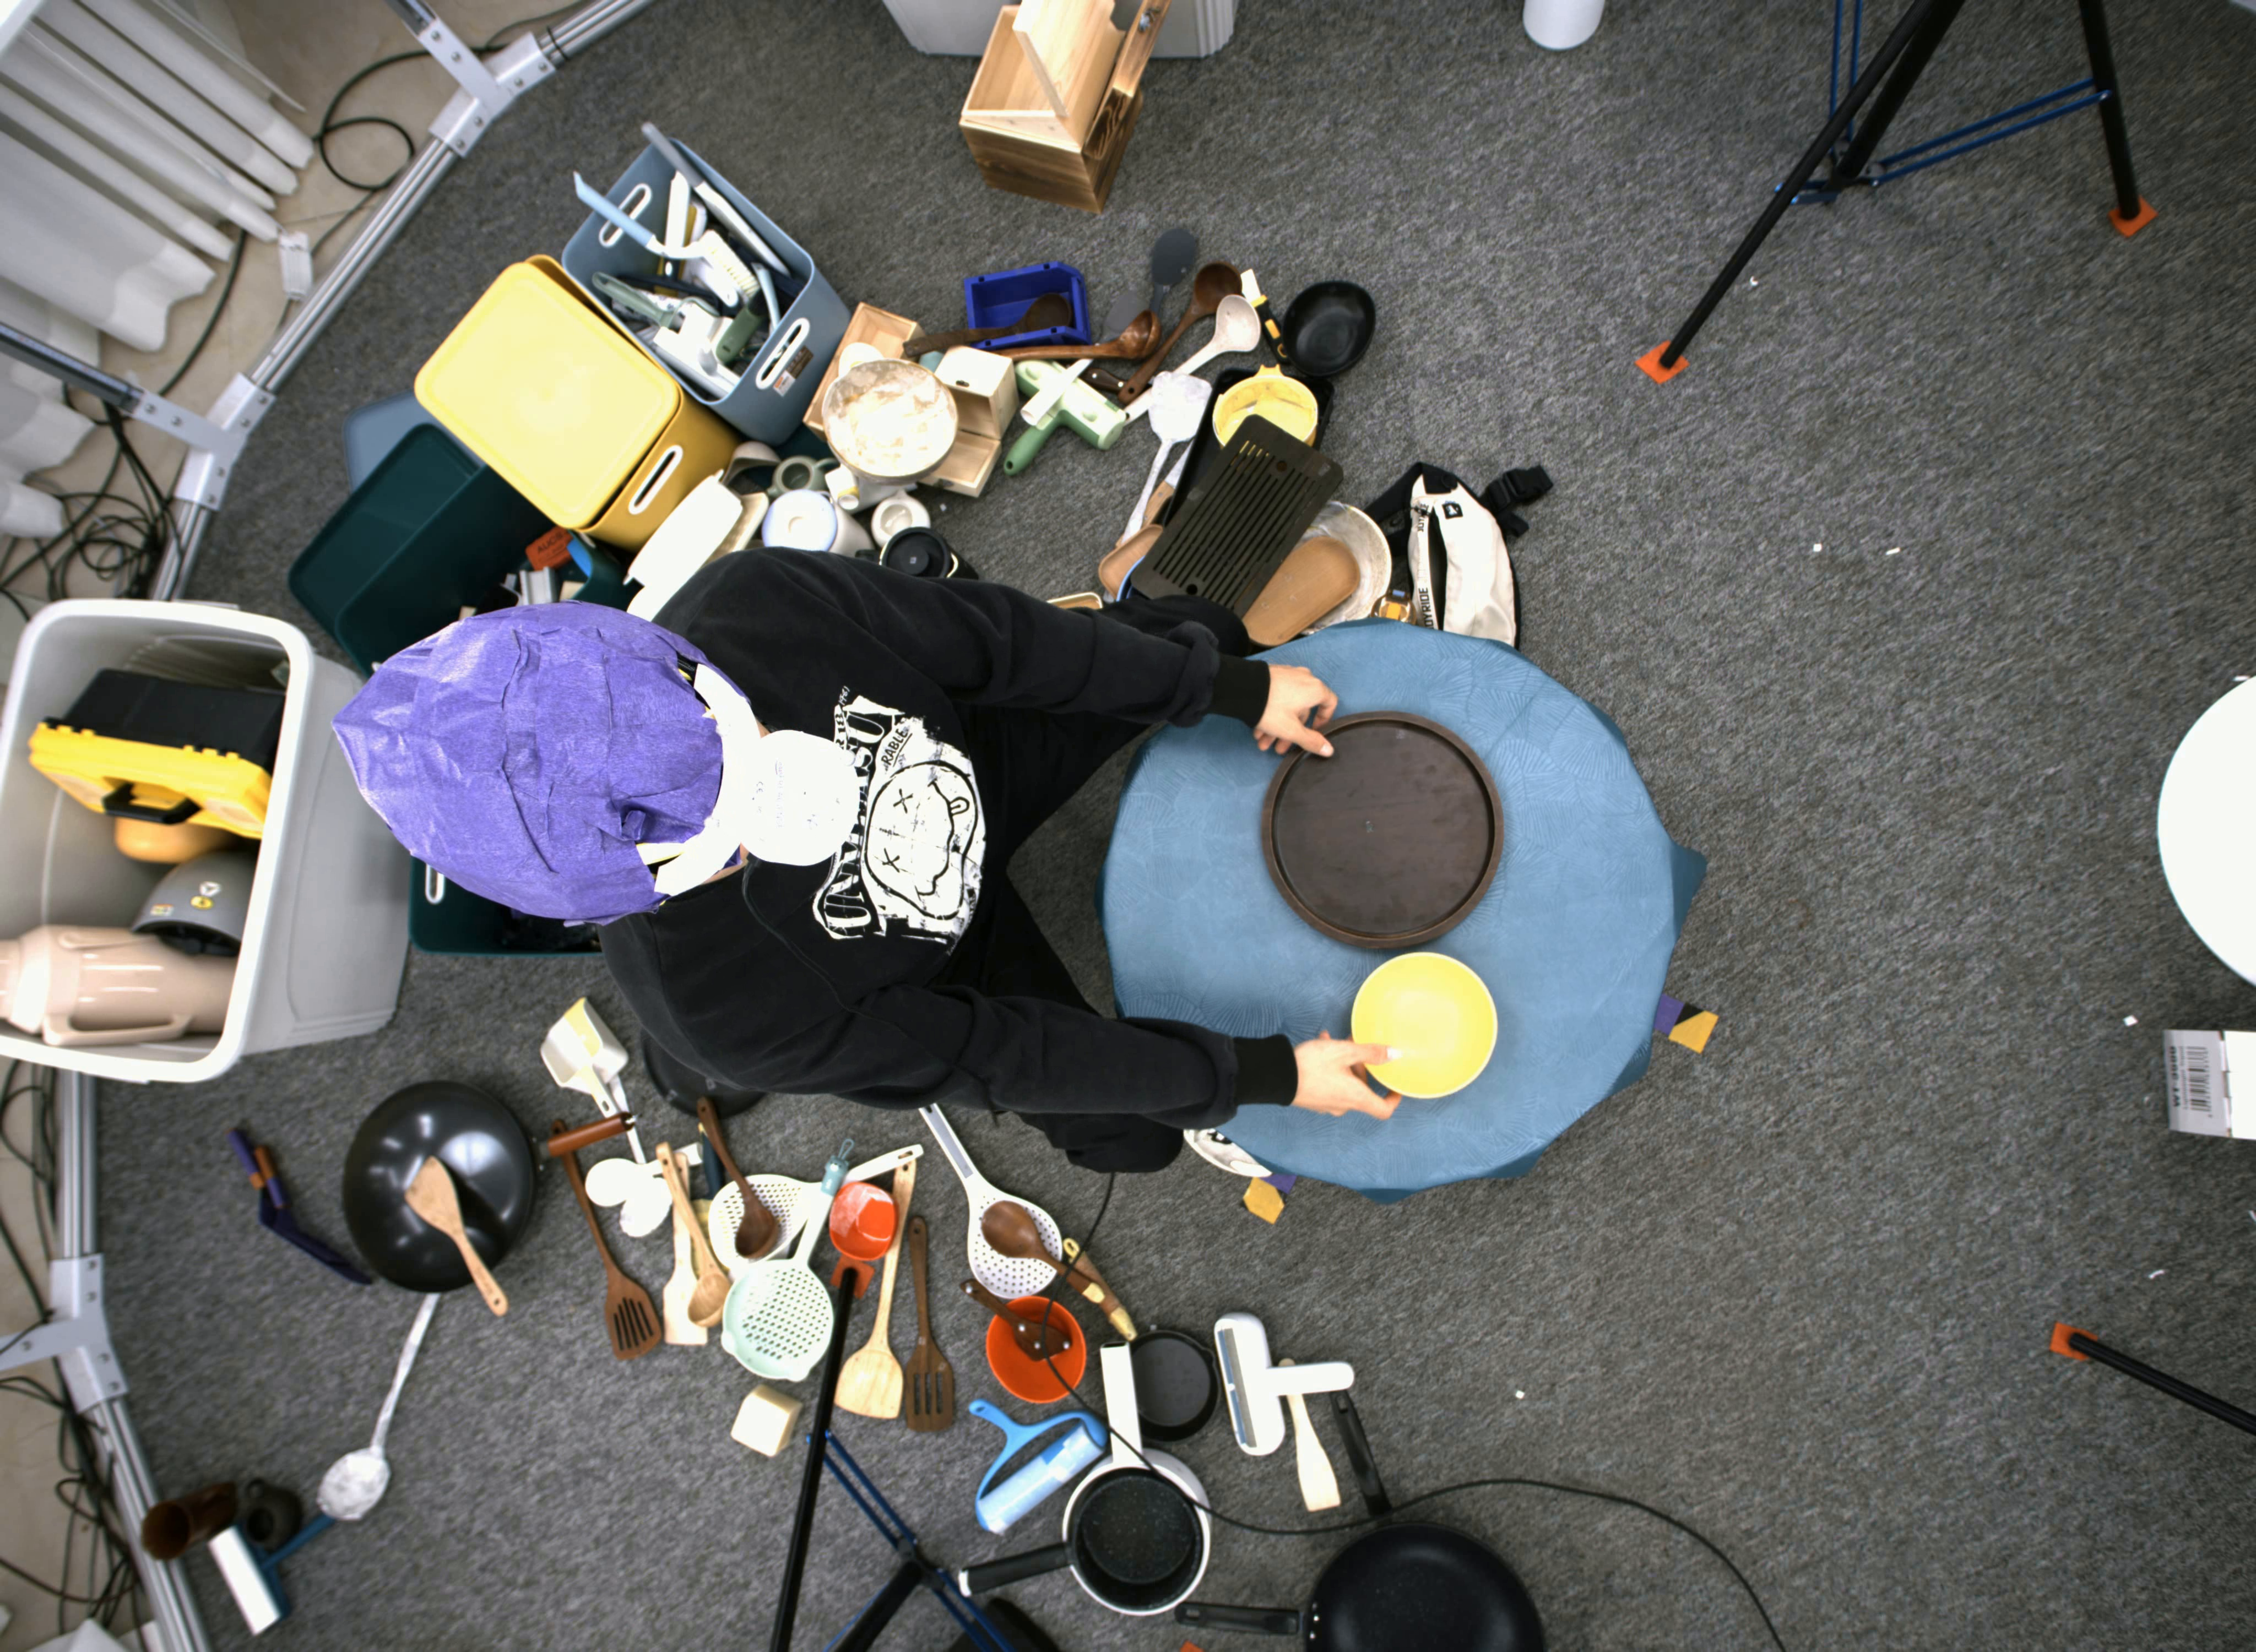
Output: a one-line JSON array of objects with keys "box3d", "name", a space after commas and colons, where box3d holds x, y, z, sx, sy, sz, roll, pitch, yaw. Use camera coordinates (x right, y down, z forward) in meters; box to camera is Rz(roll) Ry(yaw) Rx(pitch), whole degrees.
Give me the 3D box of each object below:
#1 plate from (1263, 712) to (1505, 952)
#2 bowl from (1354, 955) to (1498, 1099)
[{"box3d": [0.269, 0.005, 1.458, 0.256, 0.029, 0.254, -1, 88, 11], "name": "plate"}, {"box3d": [0.306, 0.205, 1.420, 0.146, 0.060, 0.144, -2, 83, 12], "name": "bowl"}]
